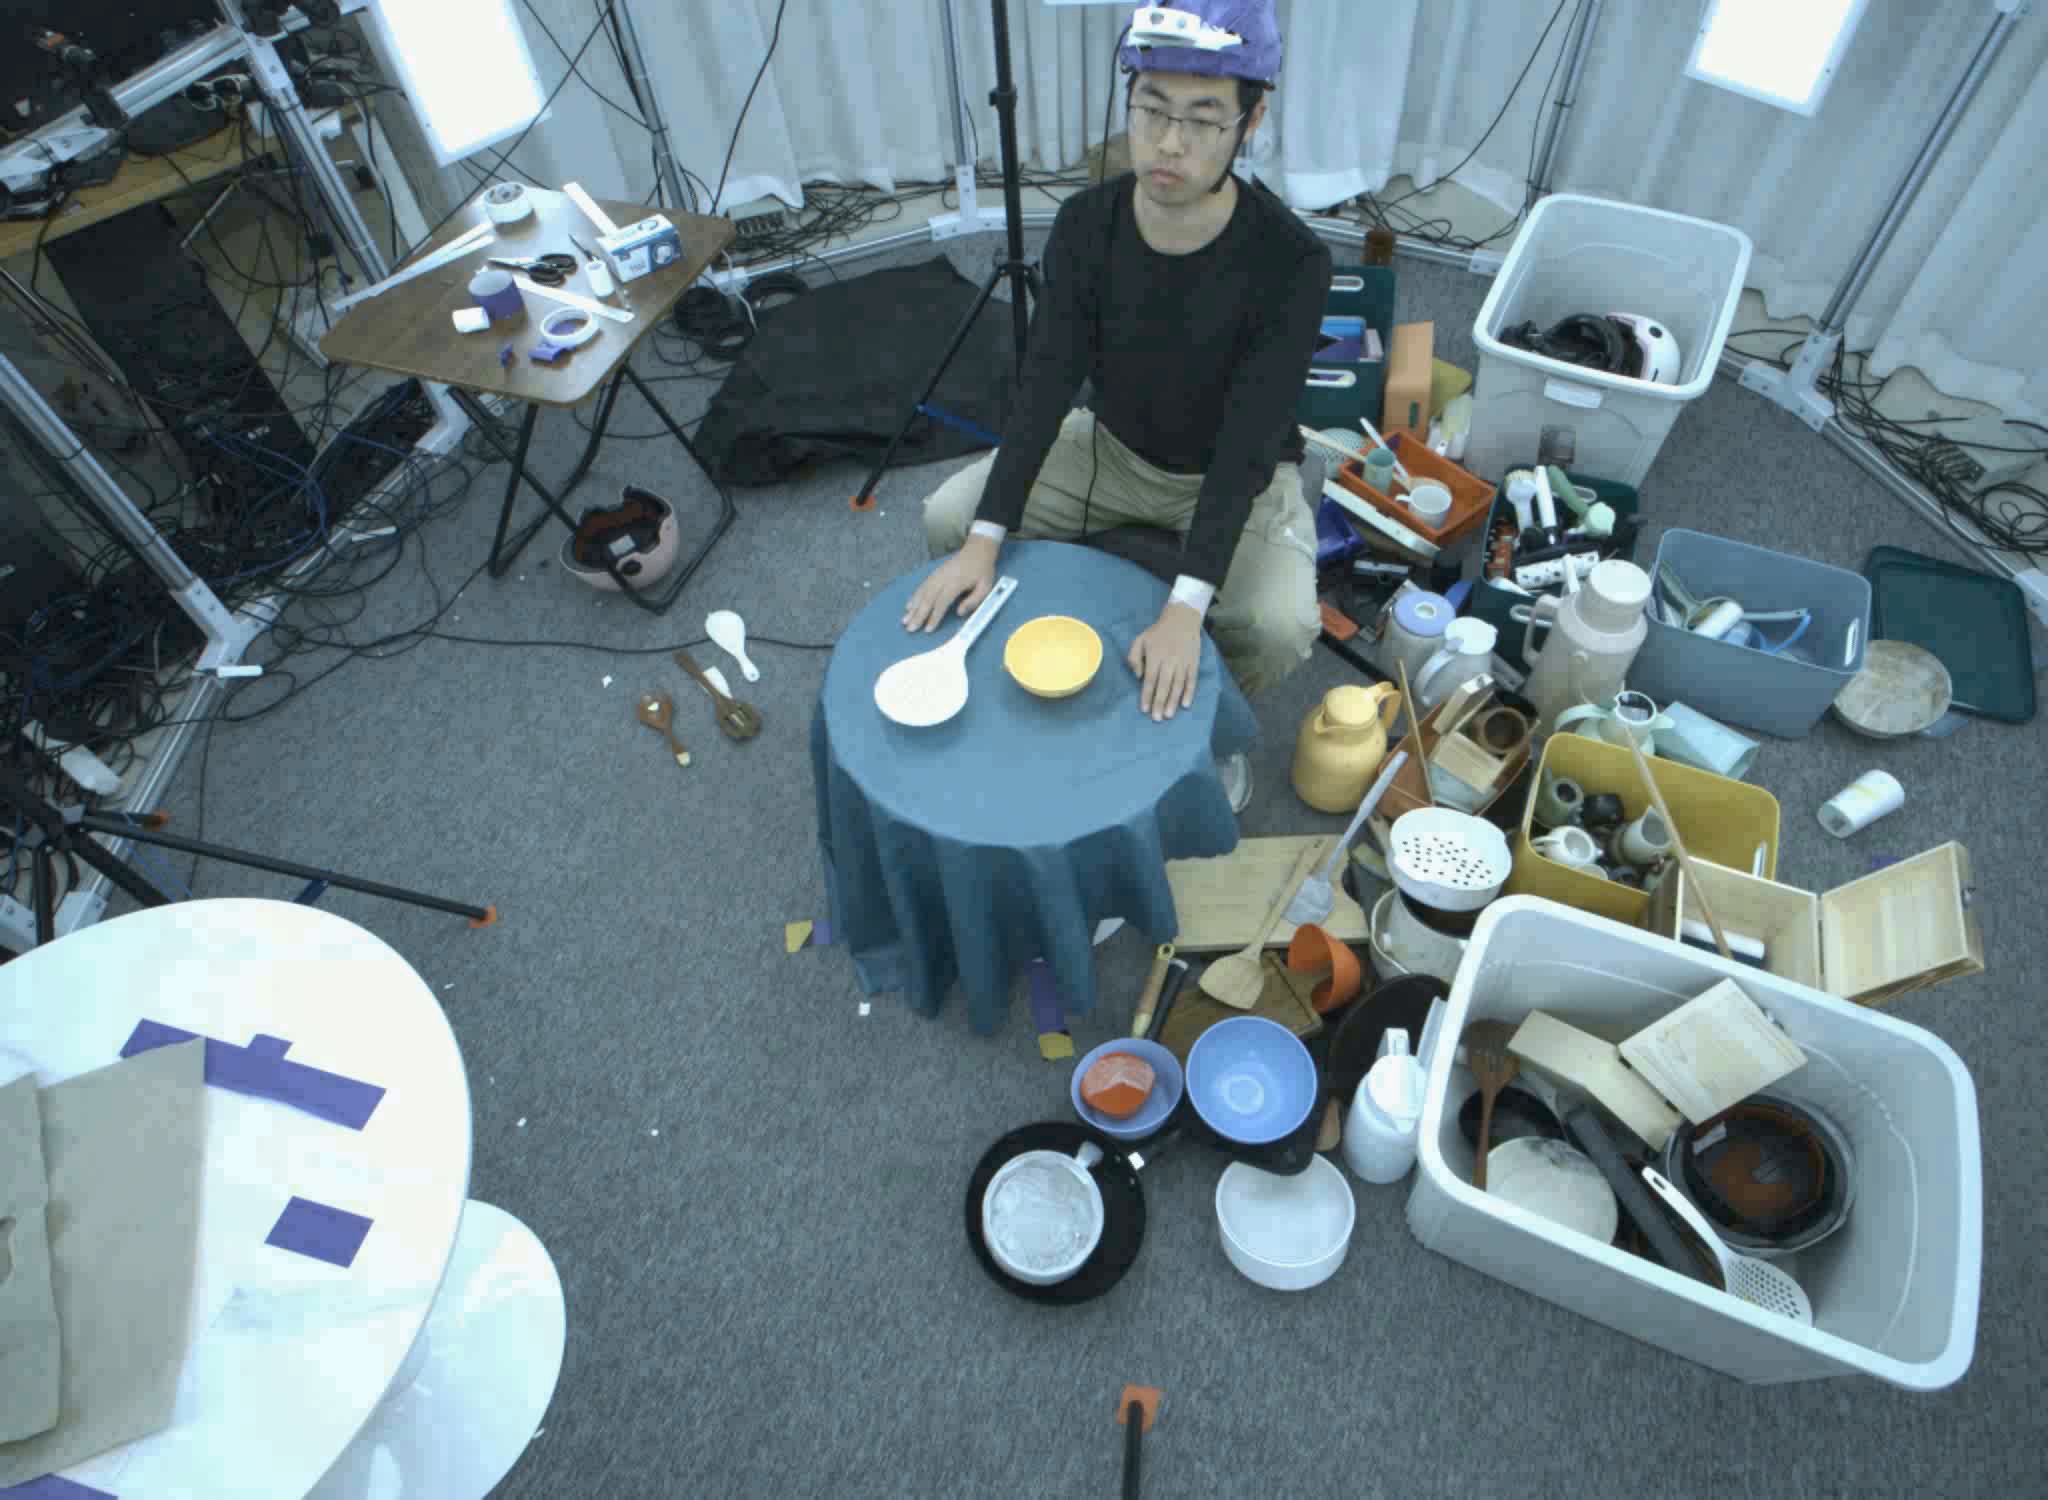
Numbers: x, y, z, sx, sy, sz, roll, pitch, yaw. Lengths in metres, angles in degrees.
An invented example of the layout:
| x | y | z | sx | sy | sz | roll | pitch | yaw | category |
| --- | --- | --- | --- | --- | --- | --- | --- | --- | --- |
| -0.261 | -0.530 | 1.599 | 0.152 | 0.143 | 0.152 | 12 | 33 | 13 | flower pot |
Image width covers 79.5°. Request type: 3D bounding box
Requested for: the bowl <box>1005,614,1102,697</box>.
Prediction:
| x | y | z | sx | sy | sz | roll | pitch | yaw | category |
| --- | --- | --- | --- | --- | --- | --- | --- | --- | --- |
| 0.045 | -0.130 | 1.844 | 0.145 | 0.061 | 0.144 | 0 | 57 | 2 | bowl |

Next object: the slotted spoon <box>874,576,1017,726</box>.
| x | y | z | sx | sy | sz | roll | pitch | yaw | category |
| --- | --- | --- | --- | --- | --- | --- | --- | --- | --- |
| -0.104 | -0.157 | 1.874 | 0.134 | 0.046 | 0.350 | 22 | 57 | 16 | slotted spoon |
